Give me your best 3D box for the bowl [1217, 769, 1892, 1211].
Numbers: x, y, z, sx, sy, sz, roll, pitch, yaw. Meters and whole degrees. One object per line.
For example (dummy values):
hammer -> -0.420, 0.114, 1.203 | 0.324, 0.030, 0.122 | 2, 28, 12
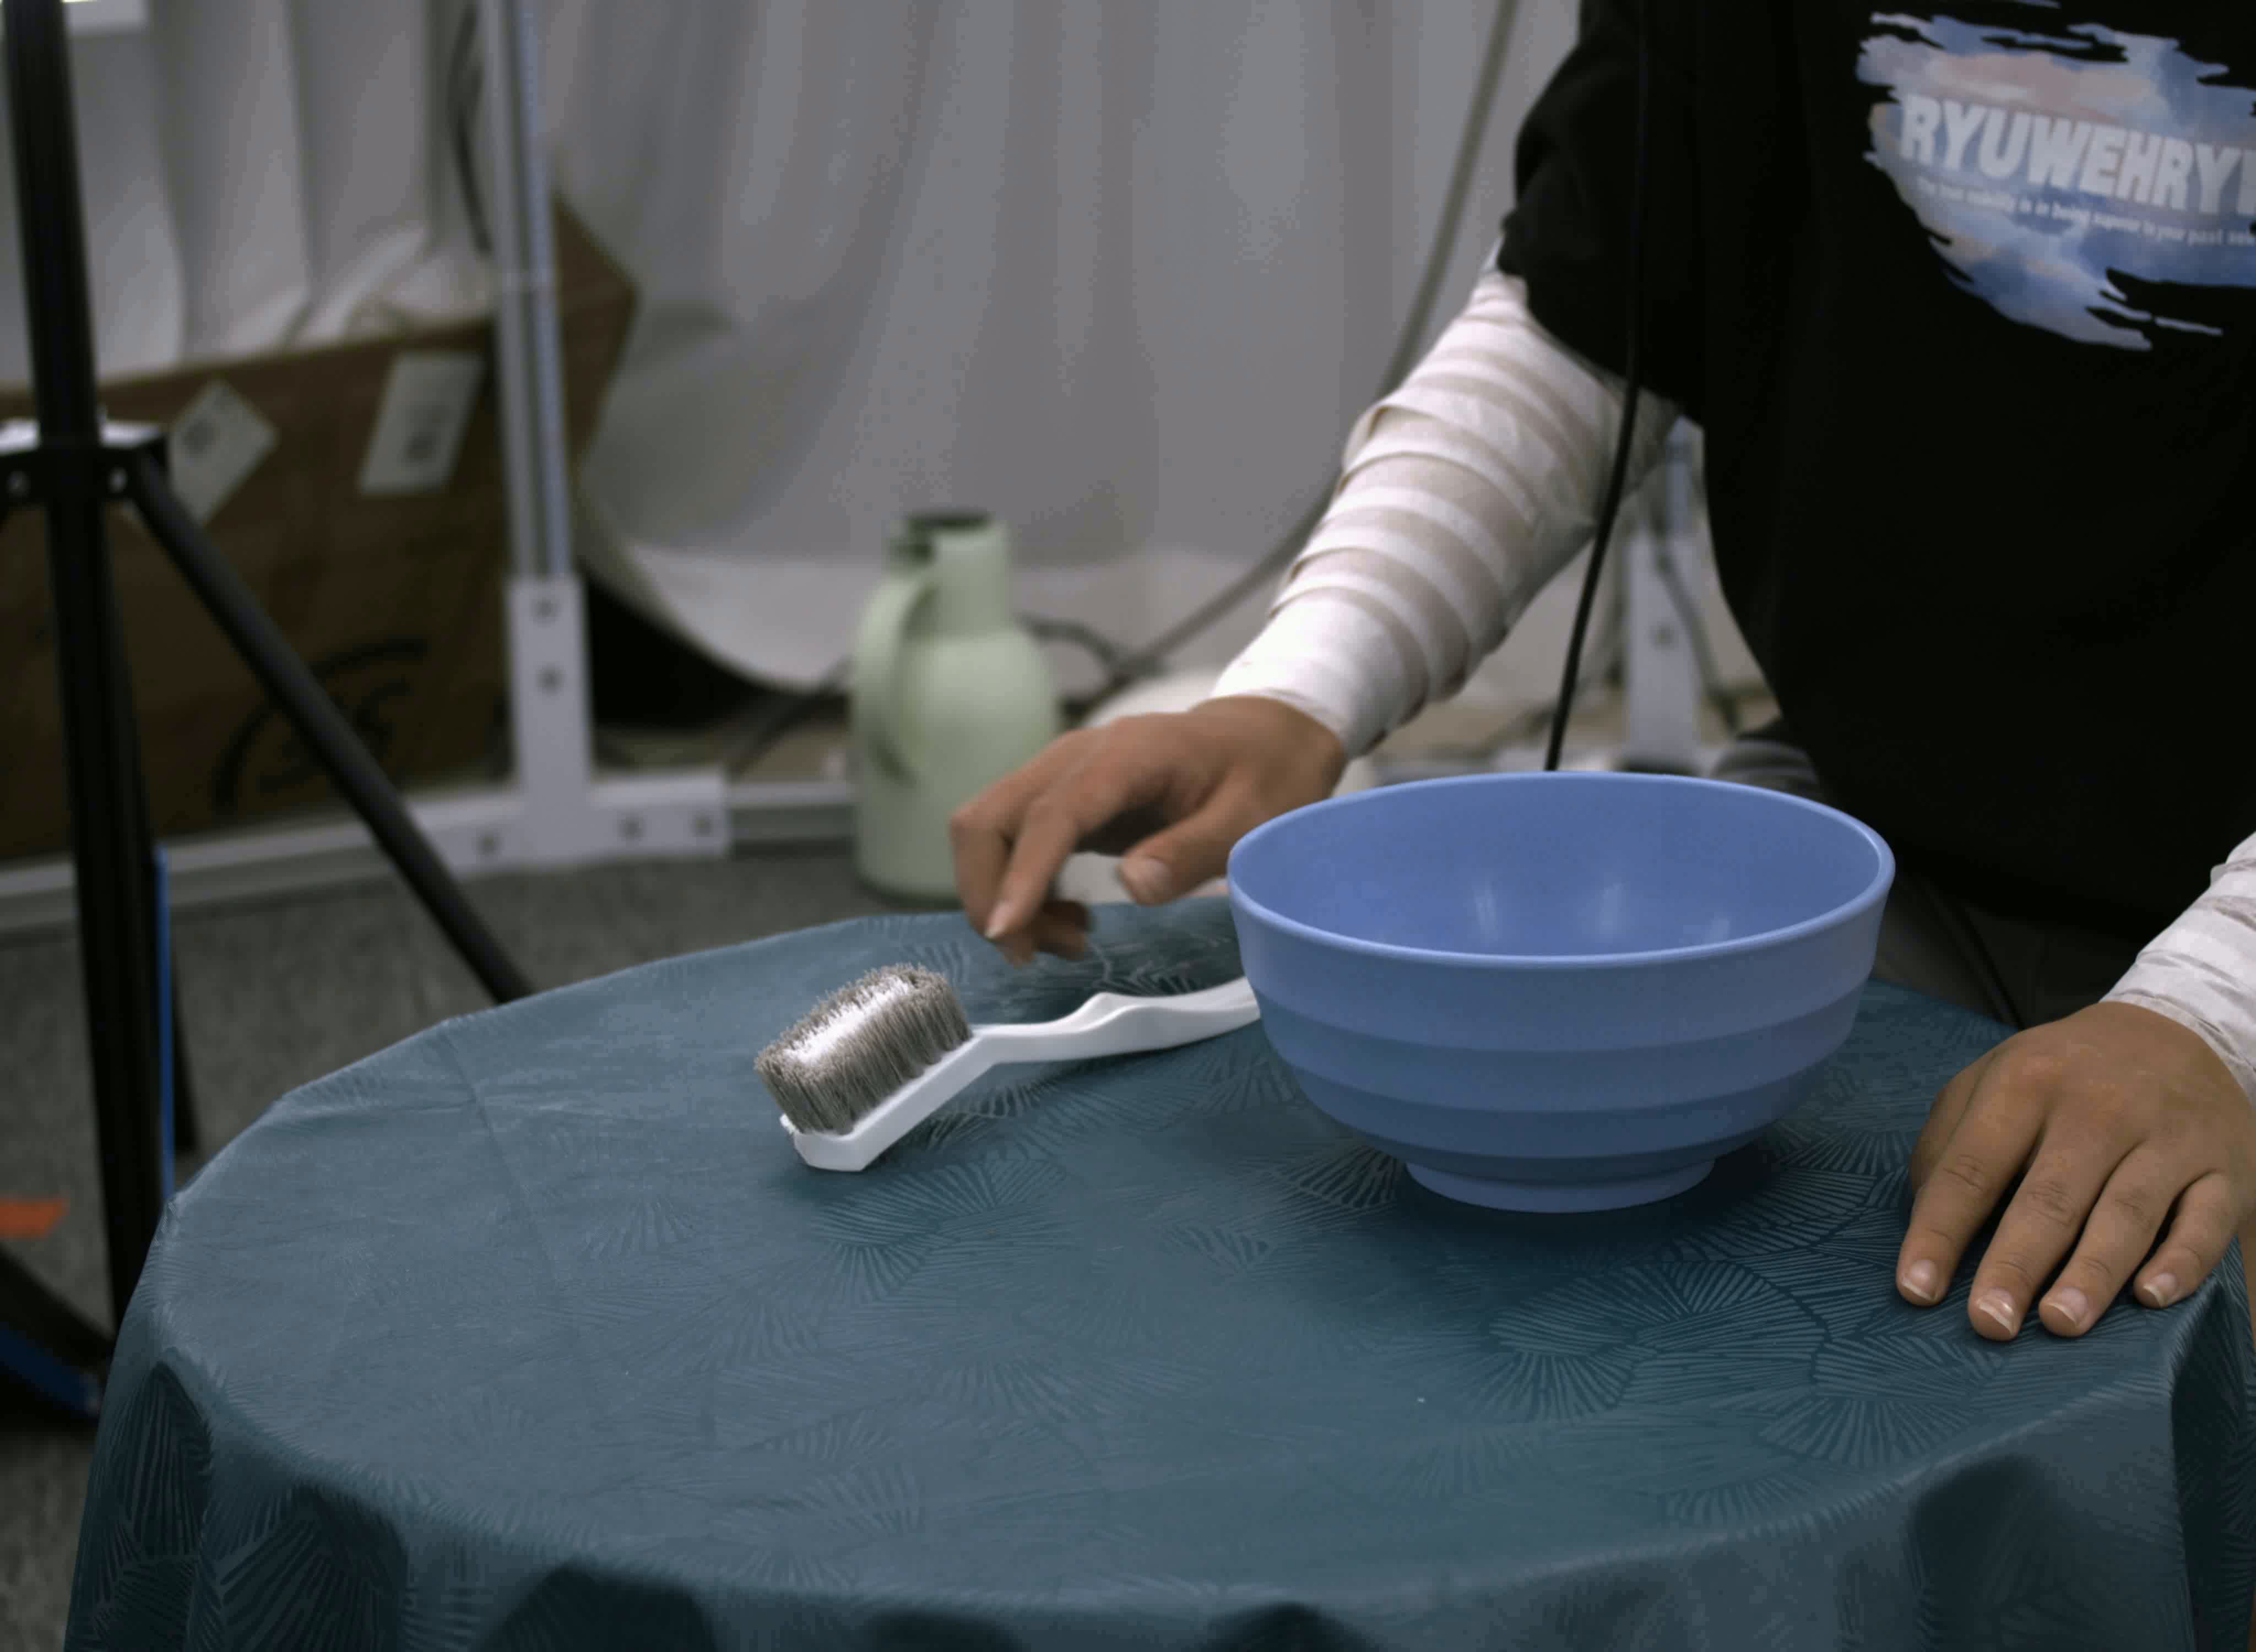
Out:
bowl -> 0.126, 0.054, 1.555 | 0.195, 0.095, 0.197 | -4, 16, 0

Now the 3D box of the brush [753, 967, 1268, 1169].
brush -> -0.017, 0.055, 1.659 | 0.238, 0.050, 0.035 | -16, 18, -40
